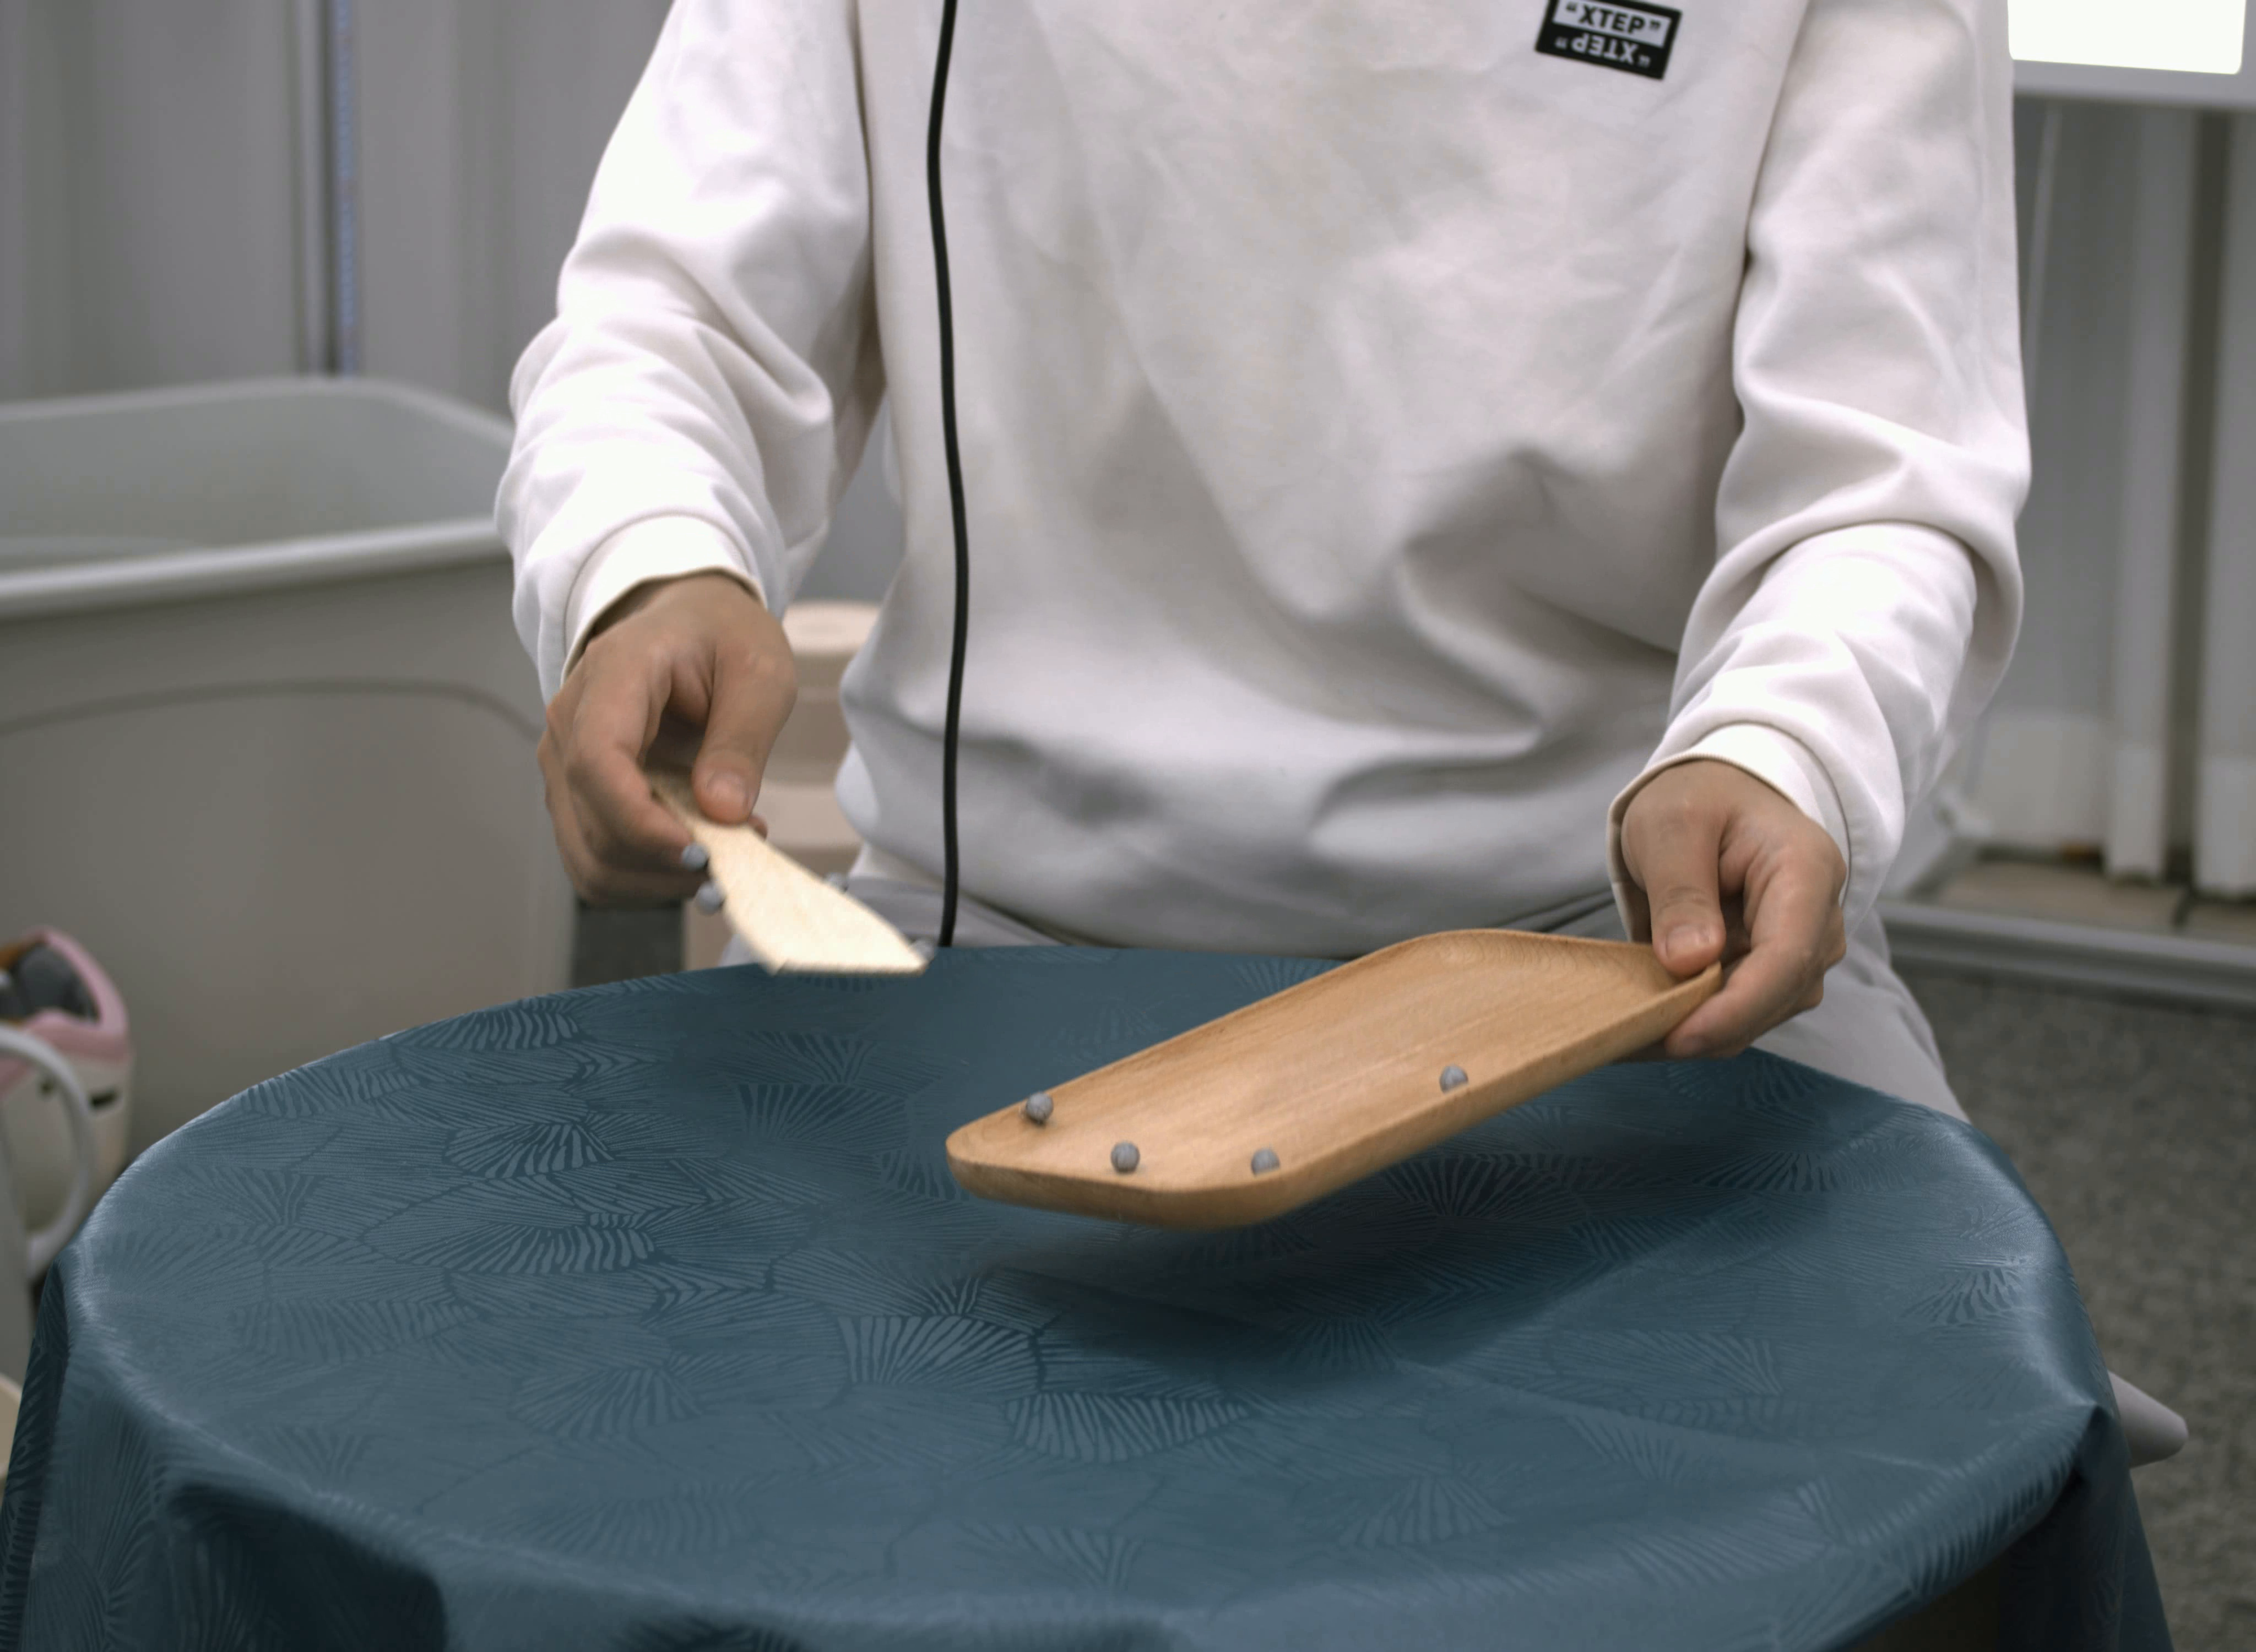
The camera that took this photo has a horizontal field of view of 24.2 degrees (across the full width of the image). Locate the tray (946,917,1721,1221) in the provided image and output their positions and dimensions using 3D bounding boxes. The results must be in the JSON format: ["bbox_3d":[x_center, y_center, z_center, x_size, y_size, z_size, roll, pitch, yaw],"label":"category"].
[{"bbox_3d":[0.065,0.071,1.586,0.129,0.023,0.252,9,20,42],"label":"tray"}]

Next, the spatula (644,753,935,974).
[{"bbox_3d":[-0.114,0.010,1.647,0.051,0.005,0.205,7,16,-24],"label":"spatula"}]
